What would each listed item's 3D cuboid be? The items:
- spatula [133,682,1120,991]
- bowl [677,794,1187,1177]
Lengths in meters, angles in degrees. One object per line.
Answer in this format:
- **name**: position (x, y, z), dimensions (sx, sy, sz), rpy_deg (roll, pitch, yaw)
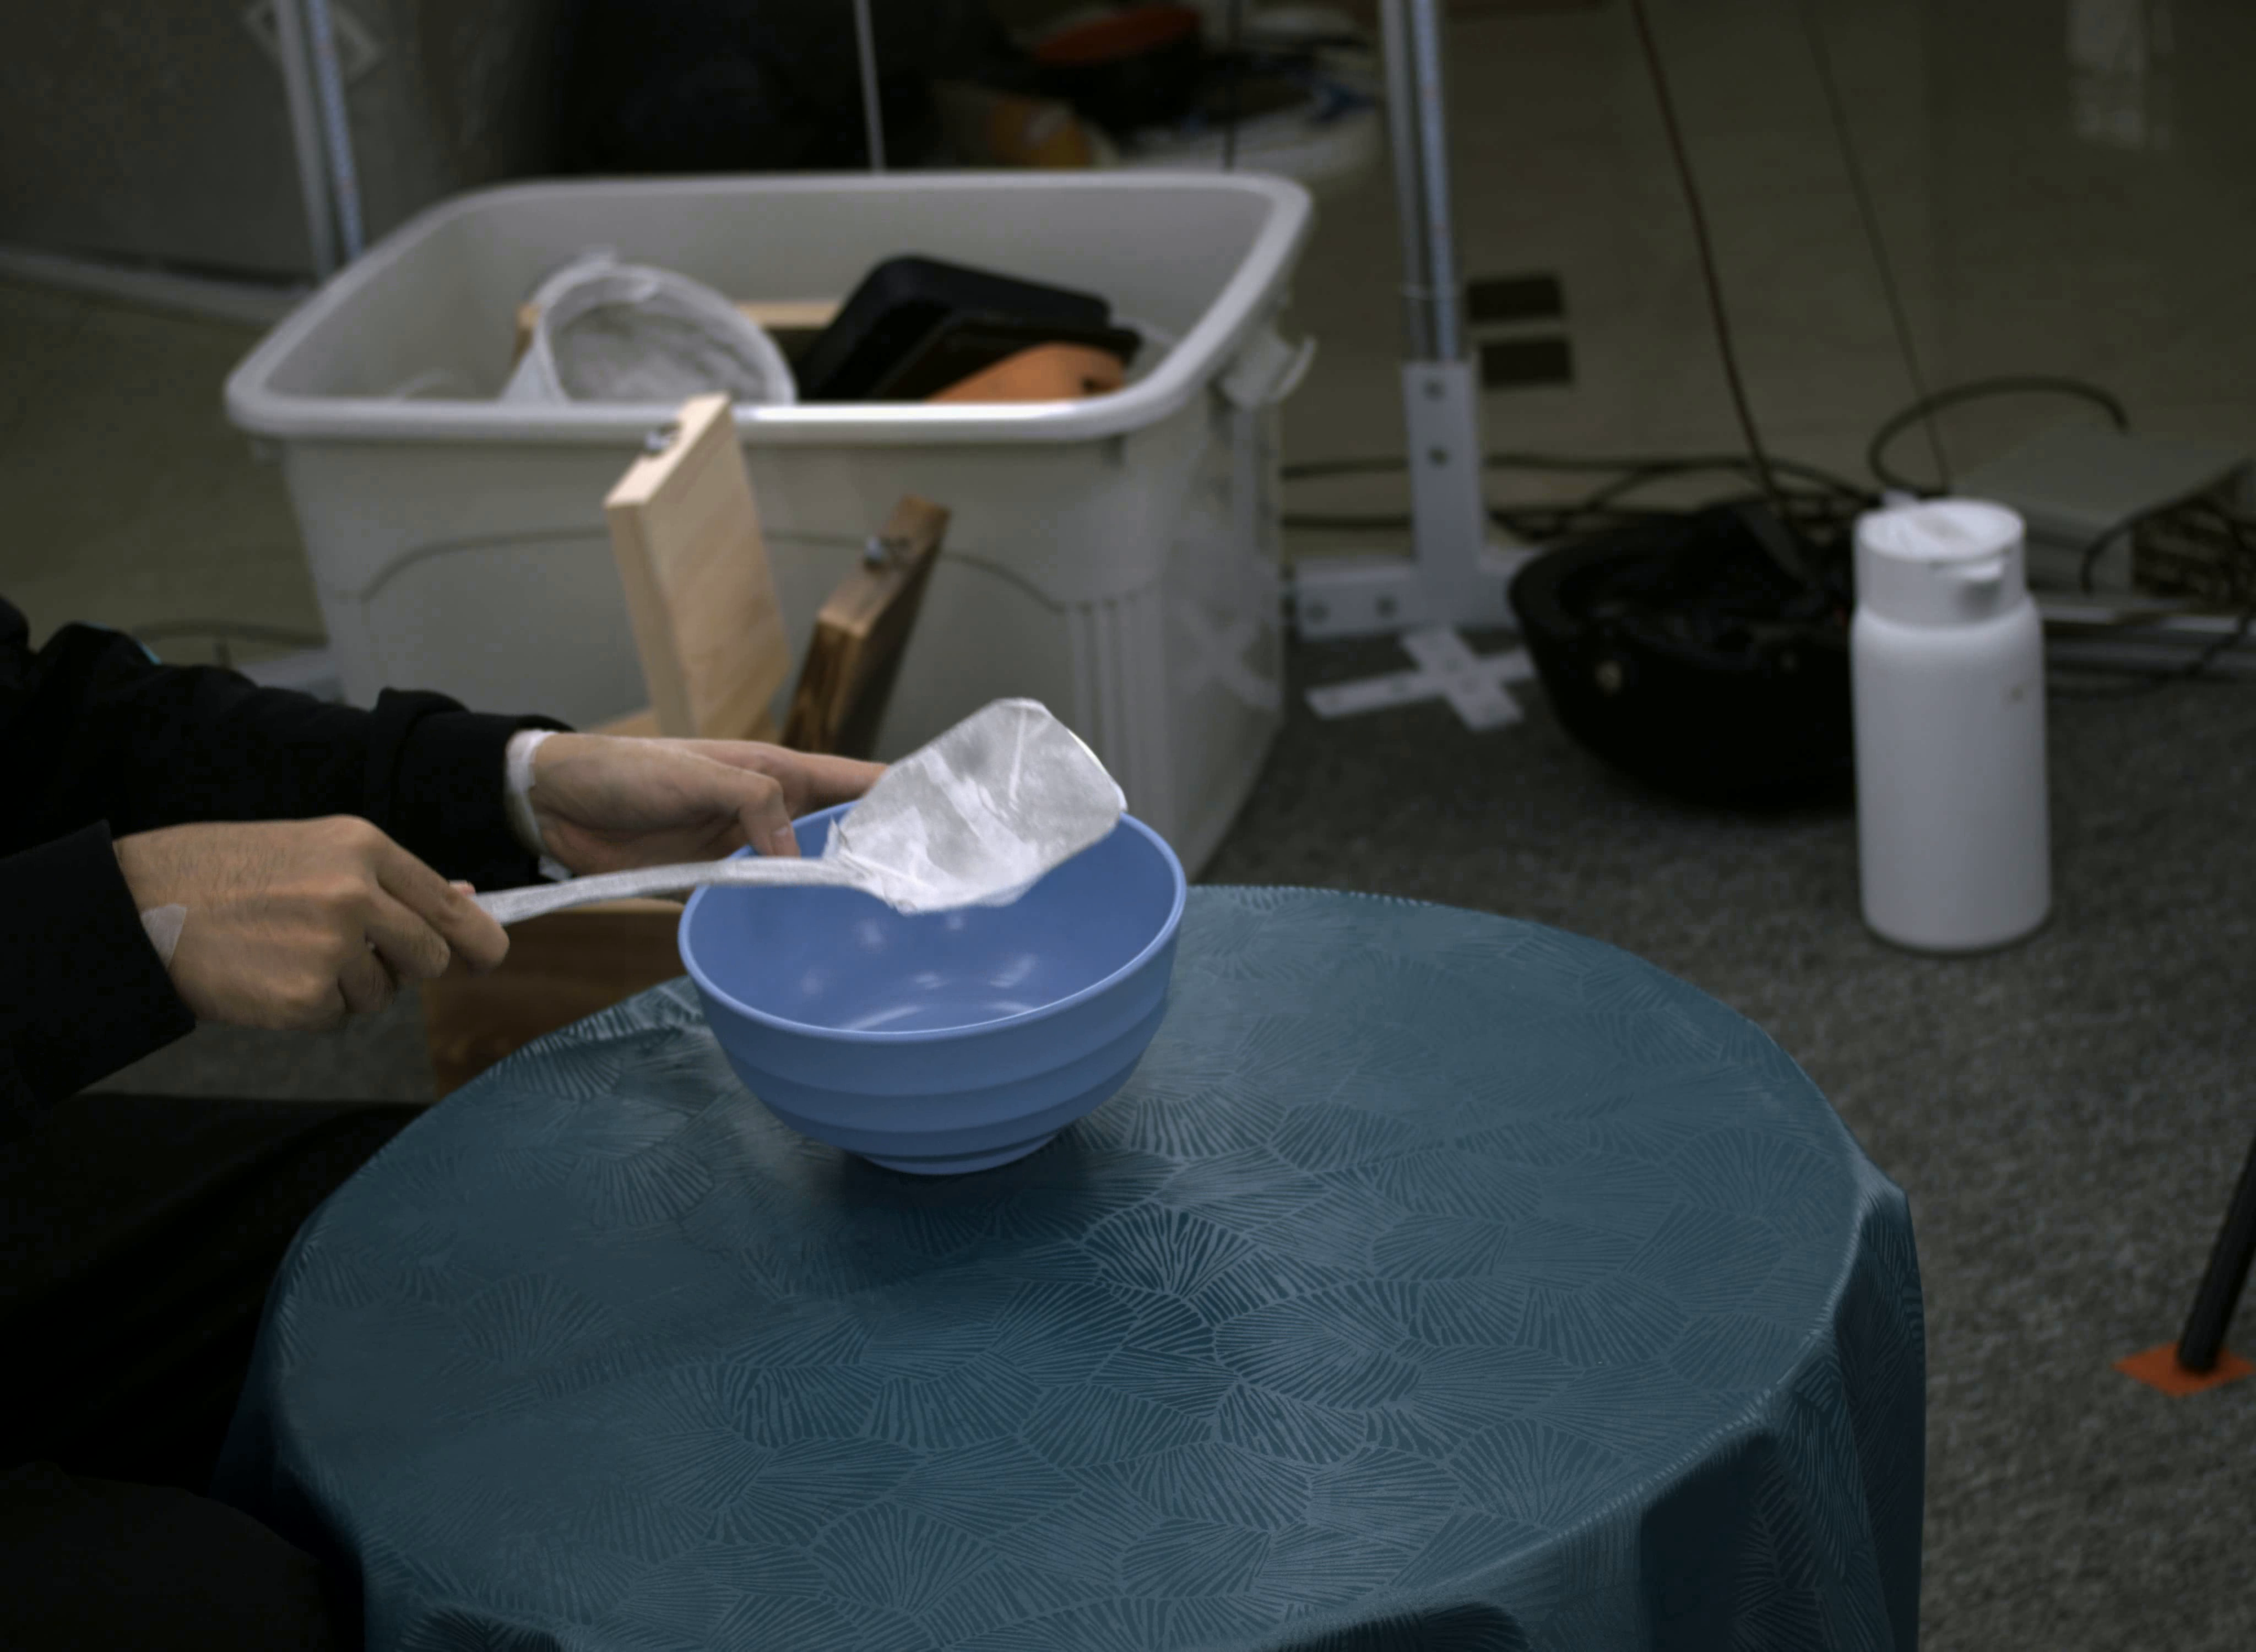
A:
- **spatula**: position (-0.178, 0.012, 2.030), dimensions (0.364, 0.045, 0.097), rpy_deg (-10, 38, -24)
- **bowl**: position (-0.072, 0.072, 2.190), dimensions (0.196, 0.097, 0.193), rpy_deg (-4, 30, 2)
